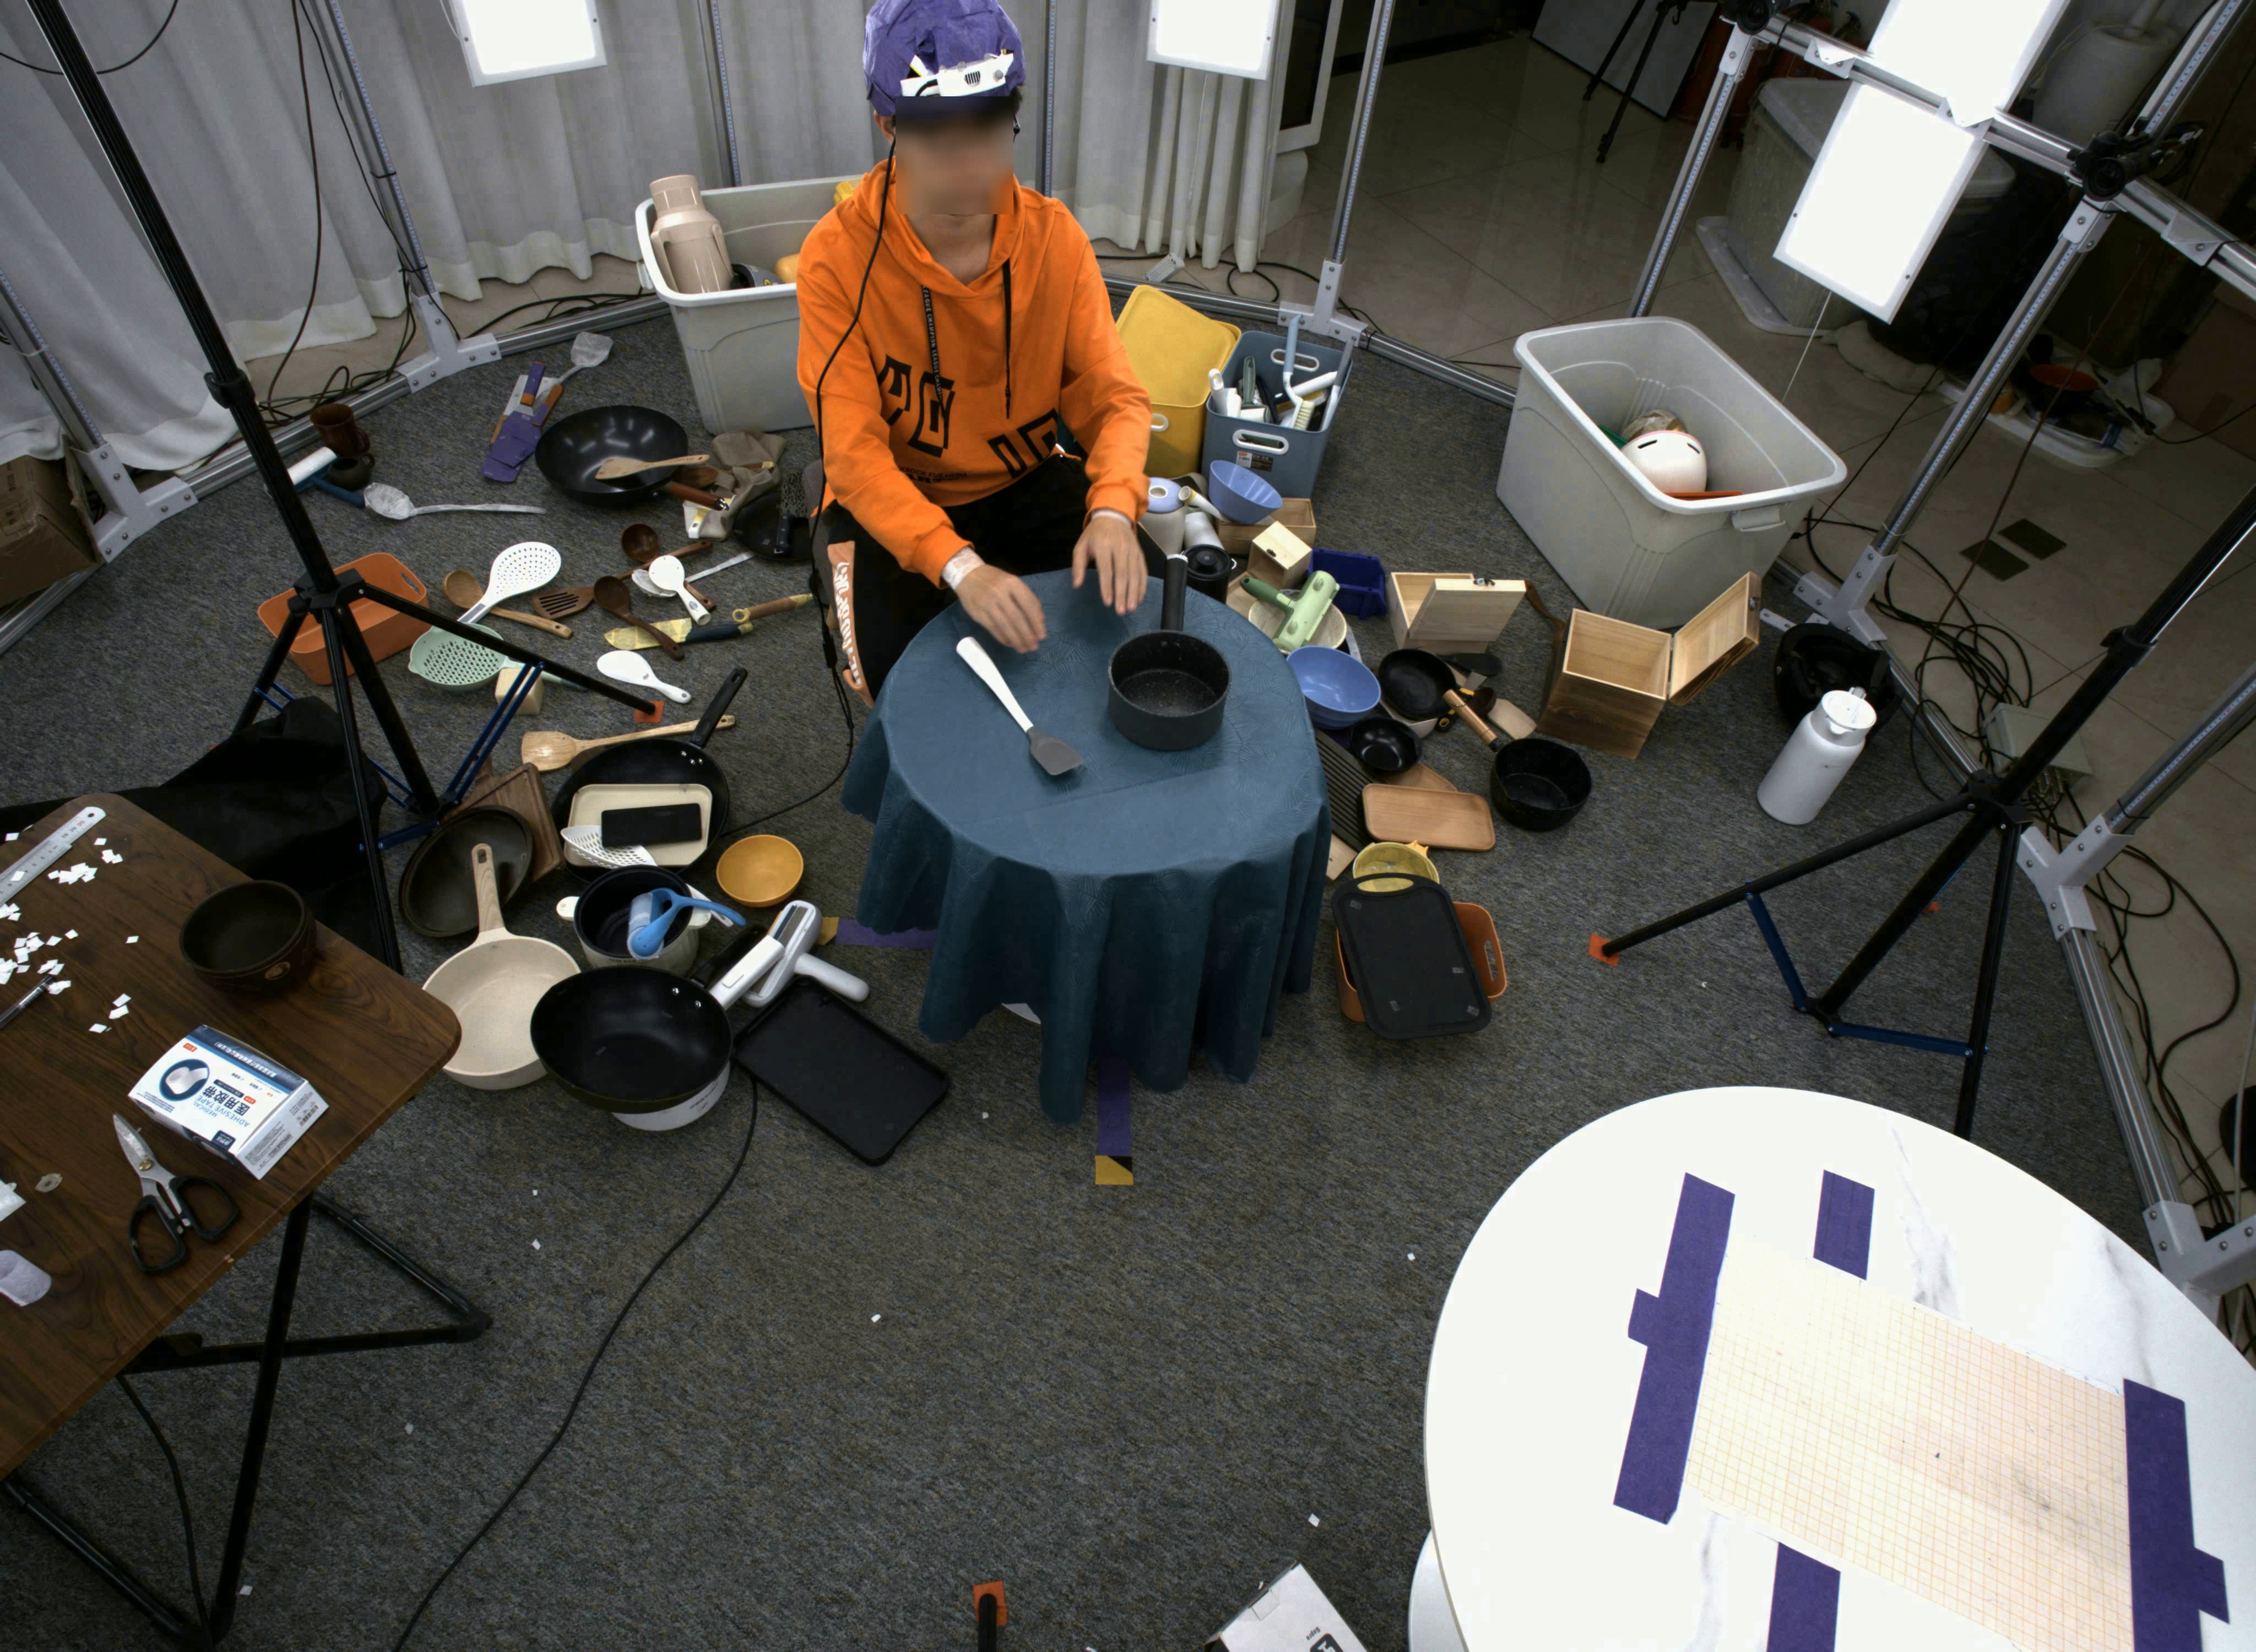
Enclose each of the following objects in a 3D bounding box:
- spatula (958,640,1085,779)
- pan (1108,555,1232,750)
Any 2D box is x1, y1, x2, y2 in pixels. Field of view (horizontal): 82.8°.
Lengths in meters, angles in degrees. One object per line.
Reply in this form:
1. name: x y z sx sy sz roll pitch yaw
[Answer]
1. spatula: -0.154 -0.162 1.778 0.059 0.031 0.293 -23 54 -23
2. pan: 0.064 -0.252 1.837 0.172 0.084 0.336 7 51 1
